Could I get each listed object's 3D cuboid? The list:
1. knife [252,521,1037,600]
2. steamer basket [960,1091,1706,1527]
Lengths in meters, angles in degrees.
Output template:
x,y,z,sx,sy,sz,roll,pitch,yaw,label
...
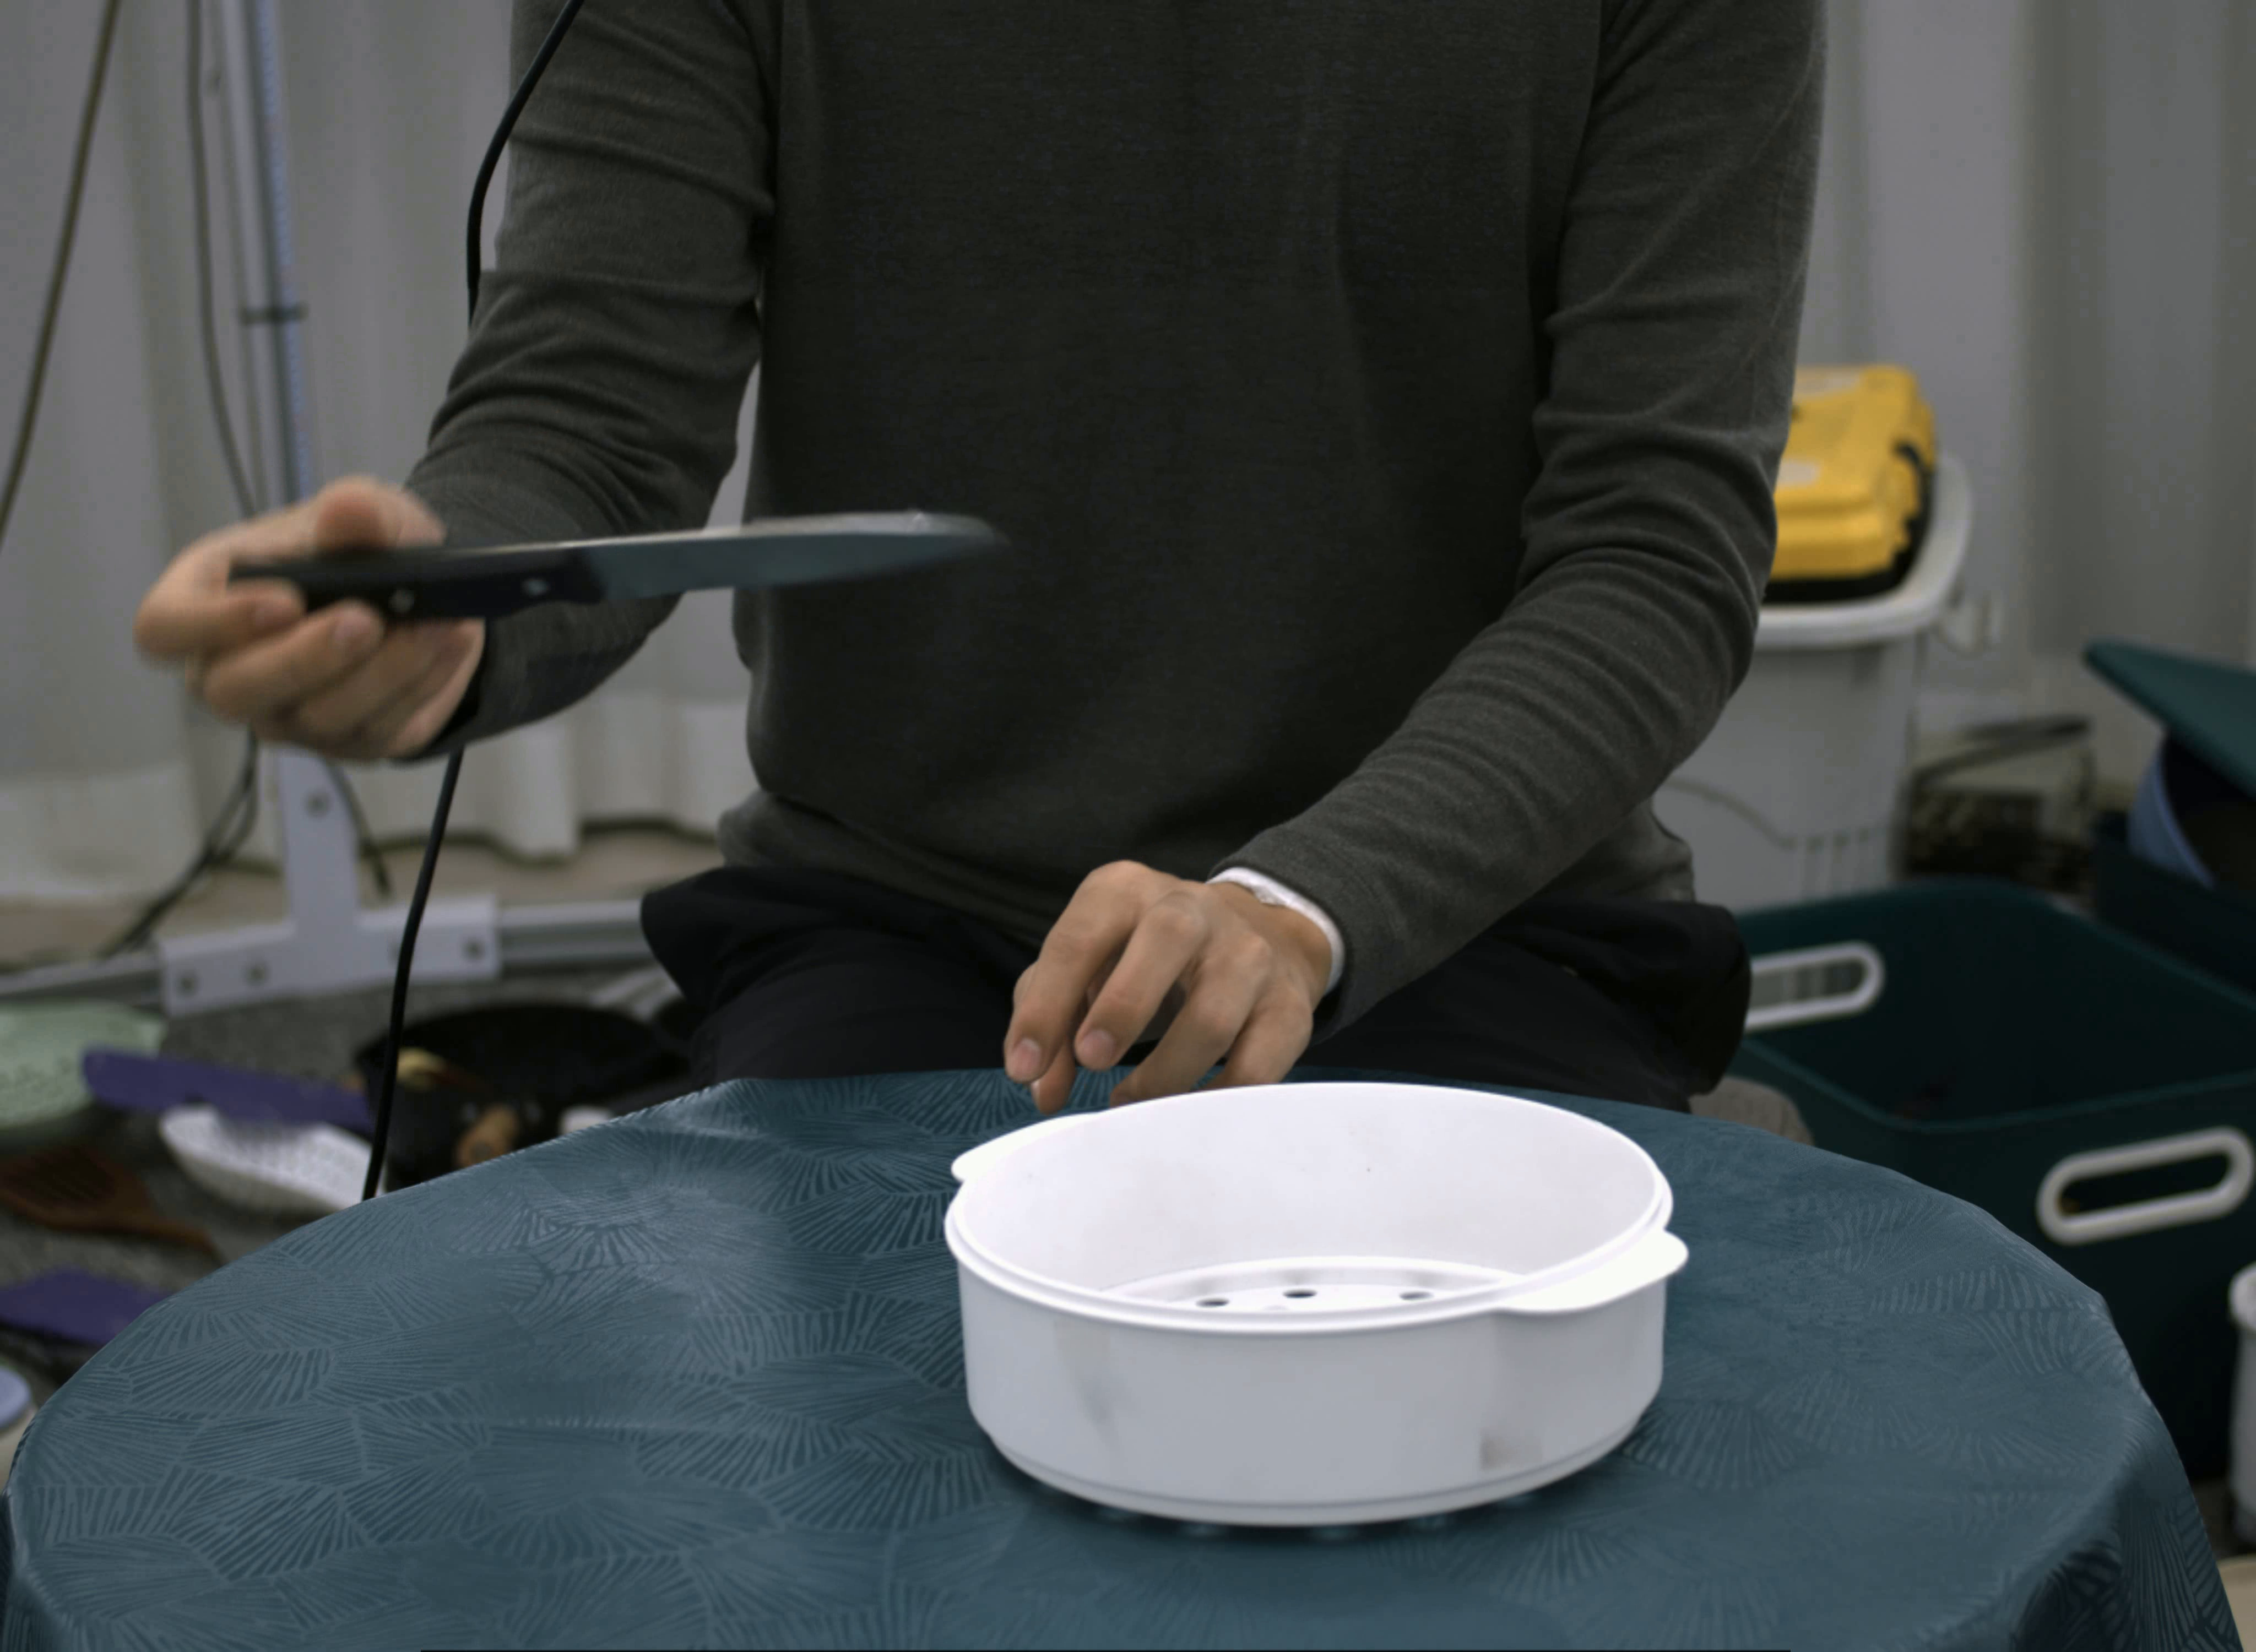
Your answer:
x,y,z,sx,sy,sz,roll,pitch,yaw,label
-0.134,-0.071,1.466,0.238,0.024,0.016,1,55,24,knife
0.055,0.132,1.508,0.231,0.069,0.201,9,18,41,steamer basket
